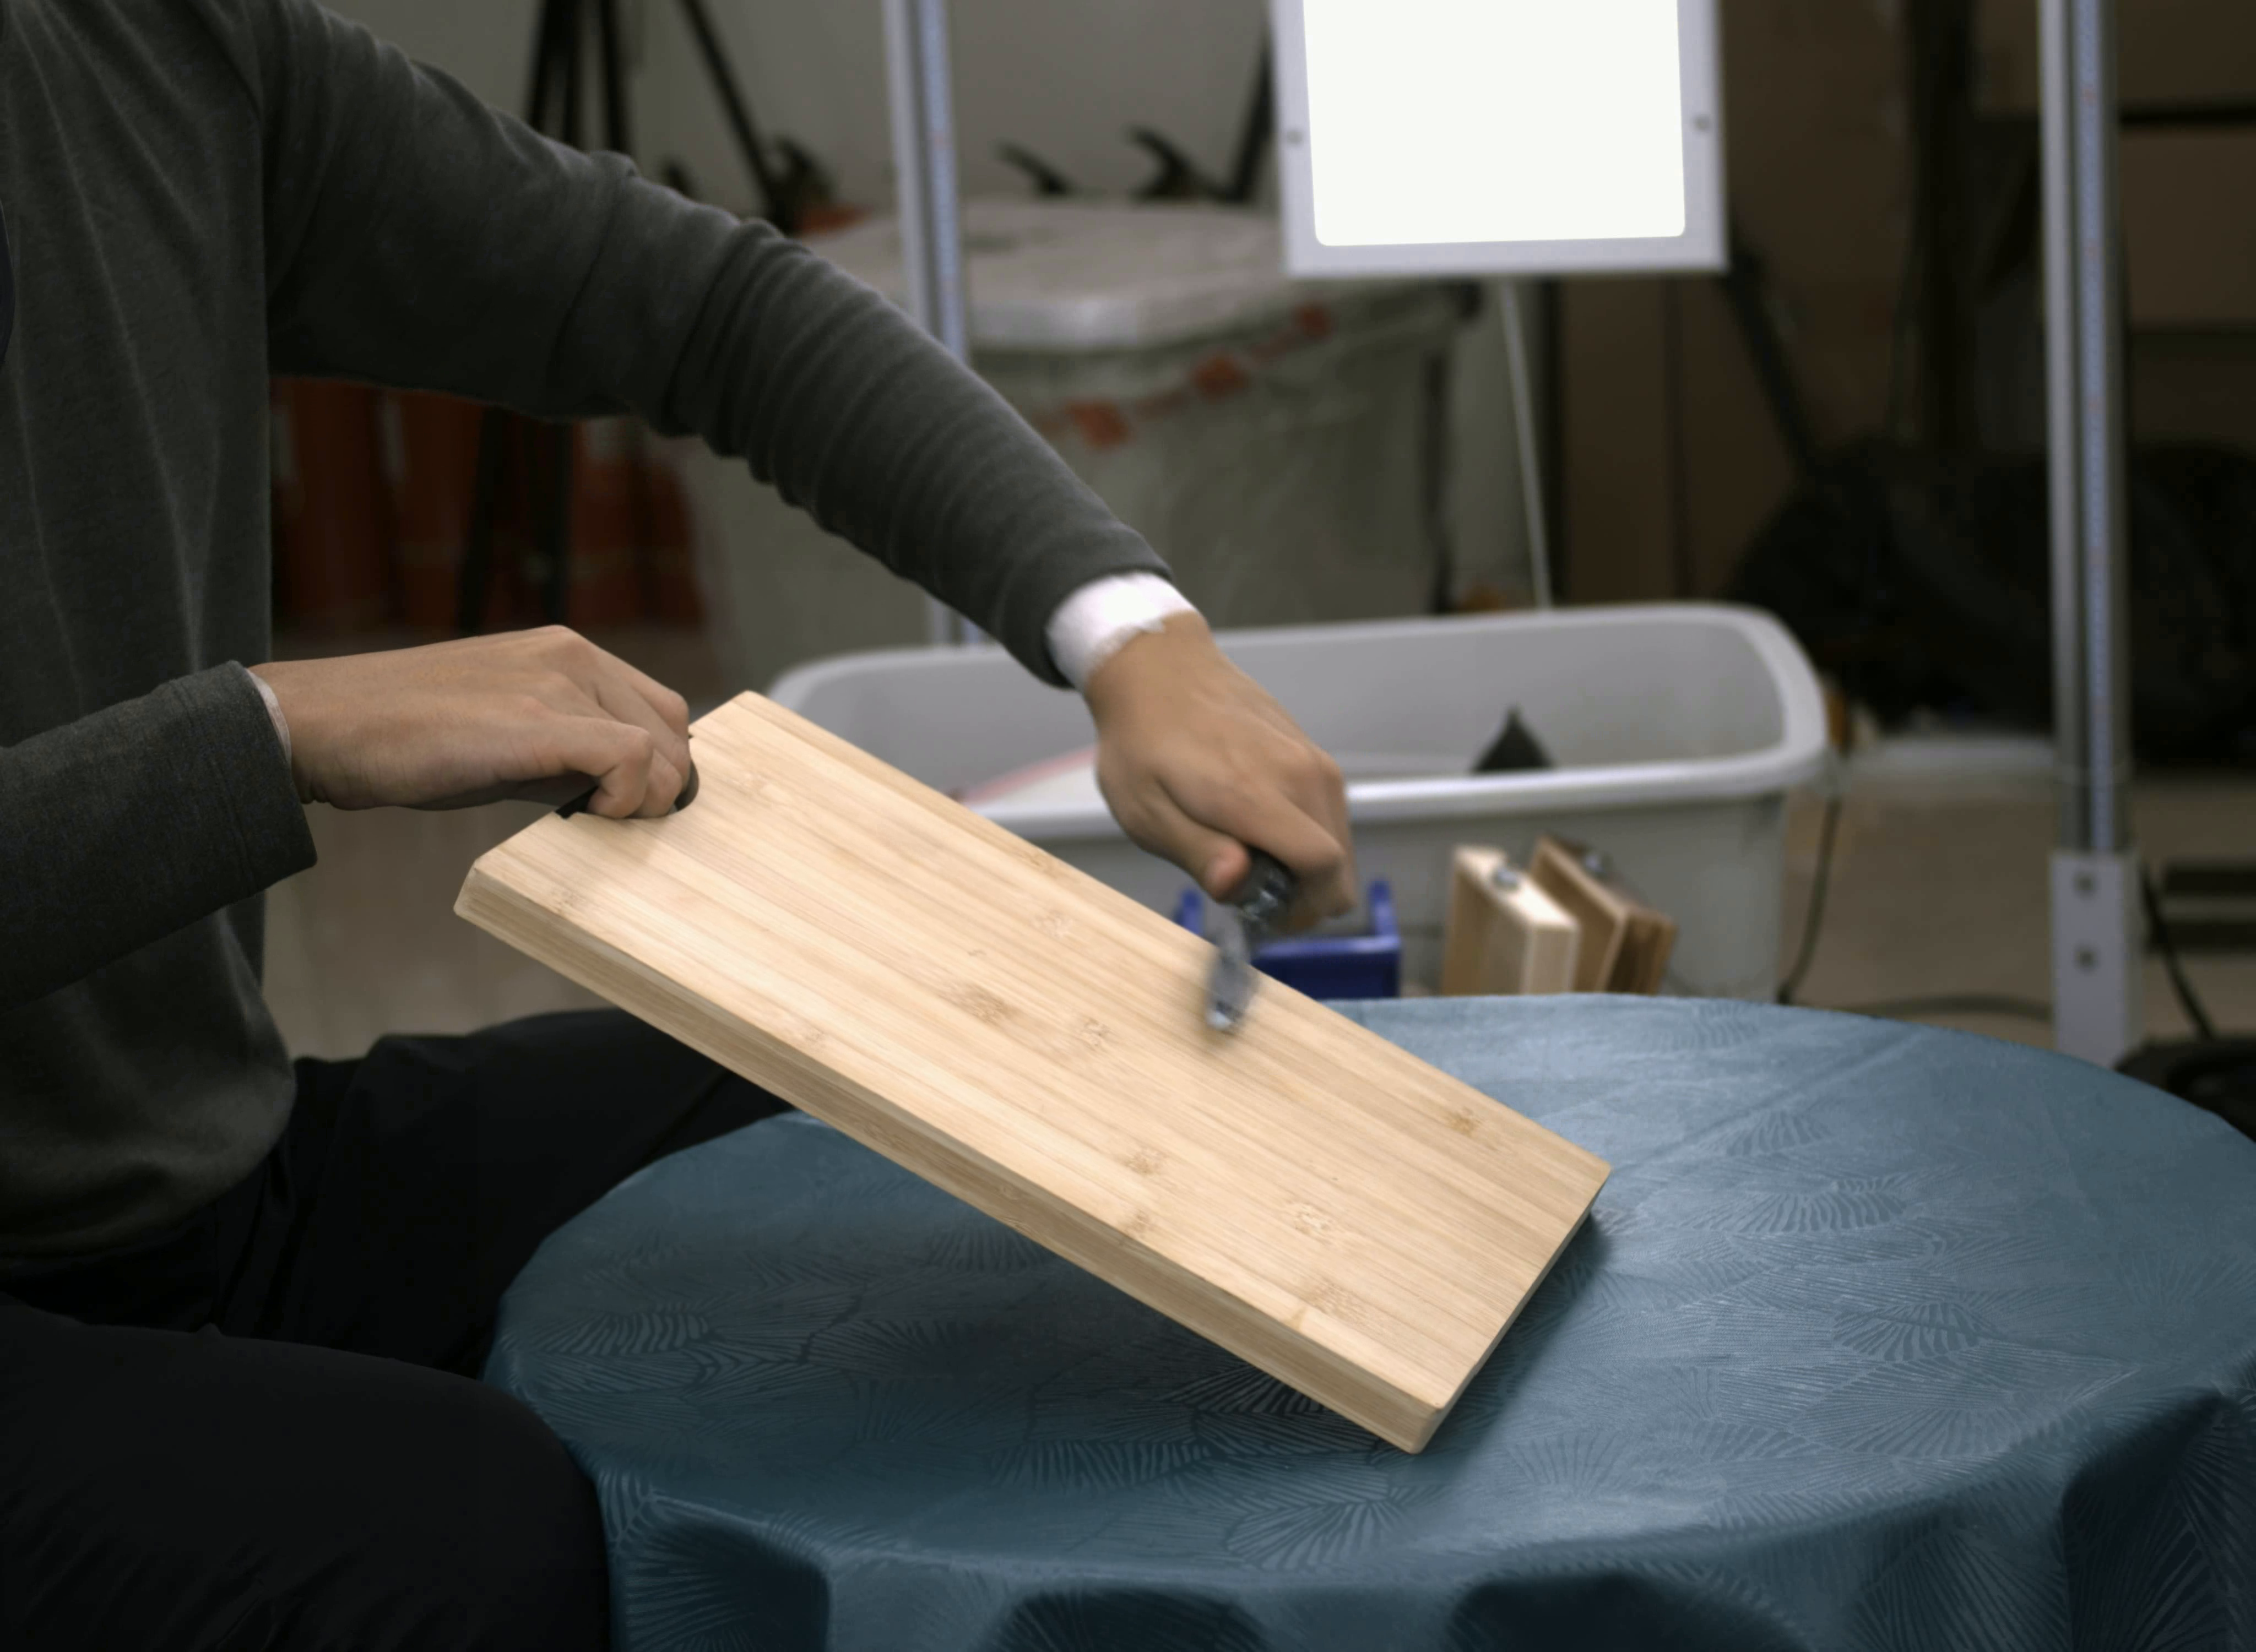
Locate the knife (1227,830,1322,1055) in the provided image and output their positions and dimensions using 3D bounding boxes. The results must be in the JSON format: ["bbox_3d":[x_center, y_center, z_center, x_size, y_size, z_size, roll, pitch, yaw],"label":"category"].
[{"bbox_3d":[0.048,0.039,1.882,0.024,0.016,0.236,39,16,-5],"label":"knife"}]

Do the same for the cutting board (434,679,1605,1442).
[{"bbox_3d":[-0.027,0.068,1.764,0.350,0.024,0.247,28,21,10],"label":"cutting board"}]
